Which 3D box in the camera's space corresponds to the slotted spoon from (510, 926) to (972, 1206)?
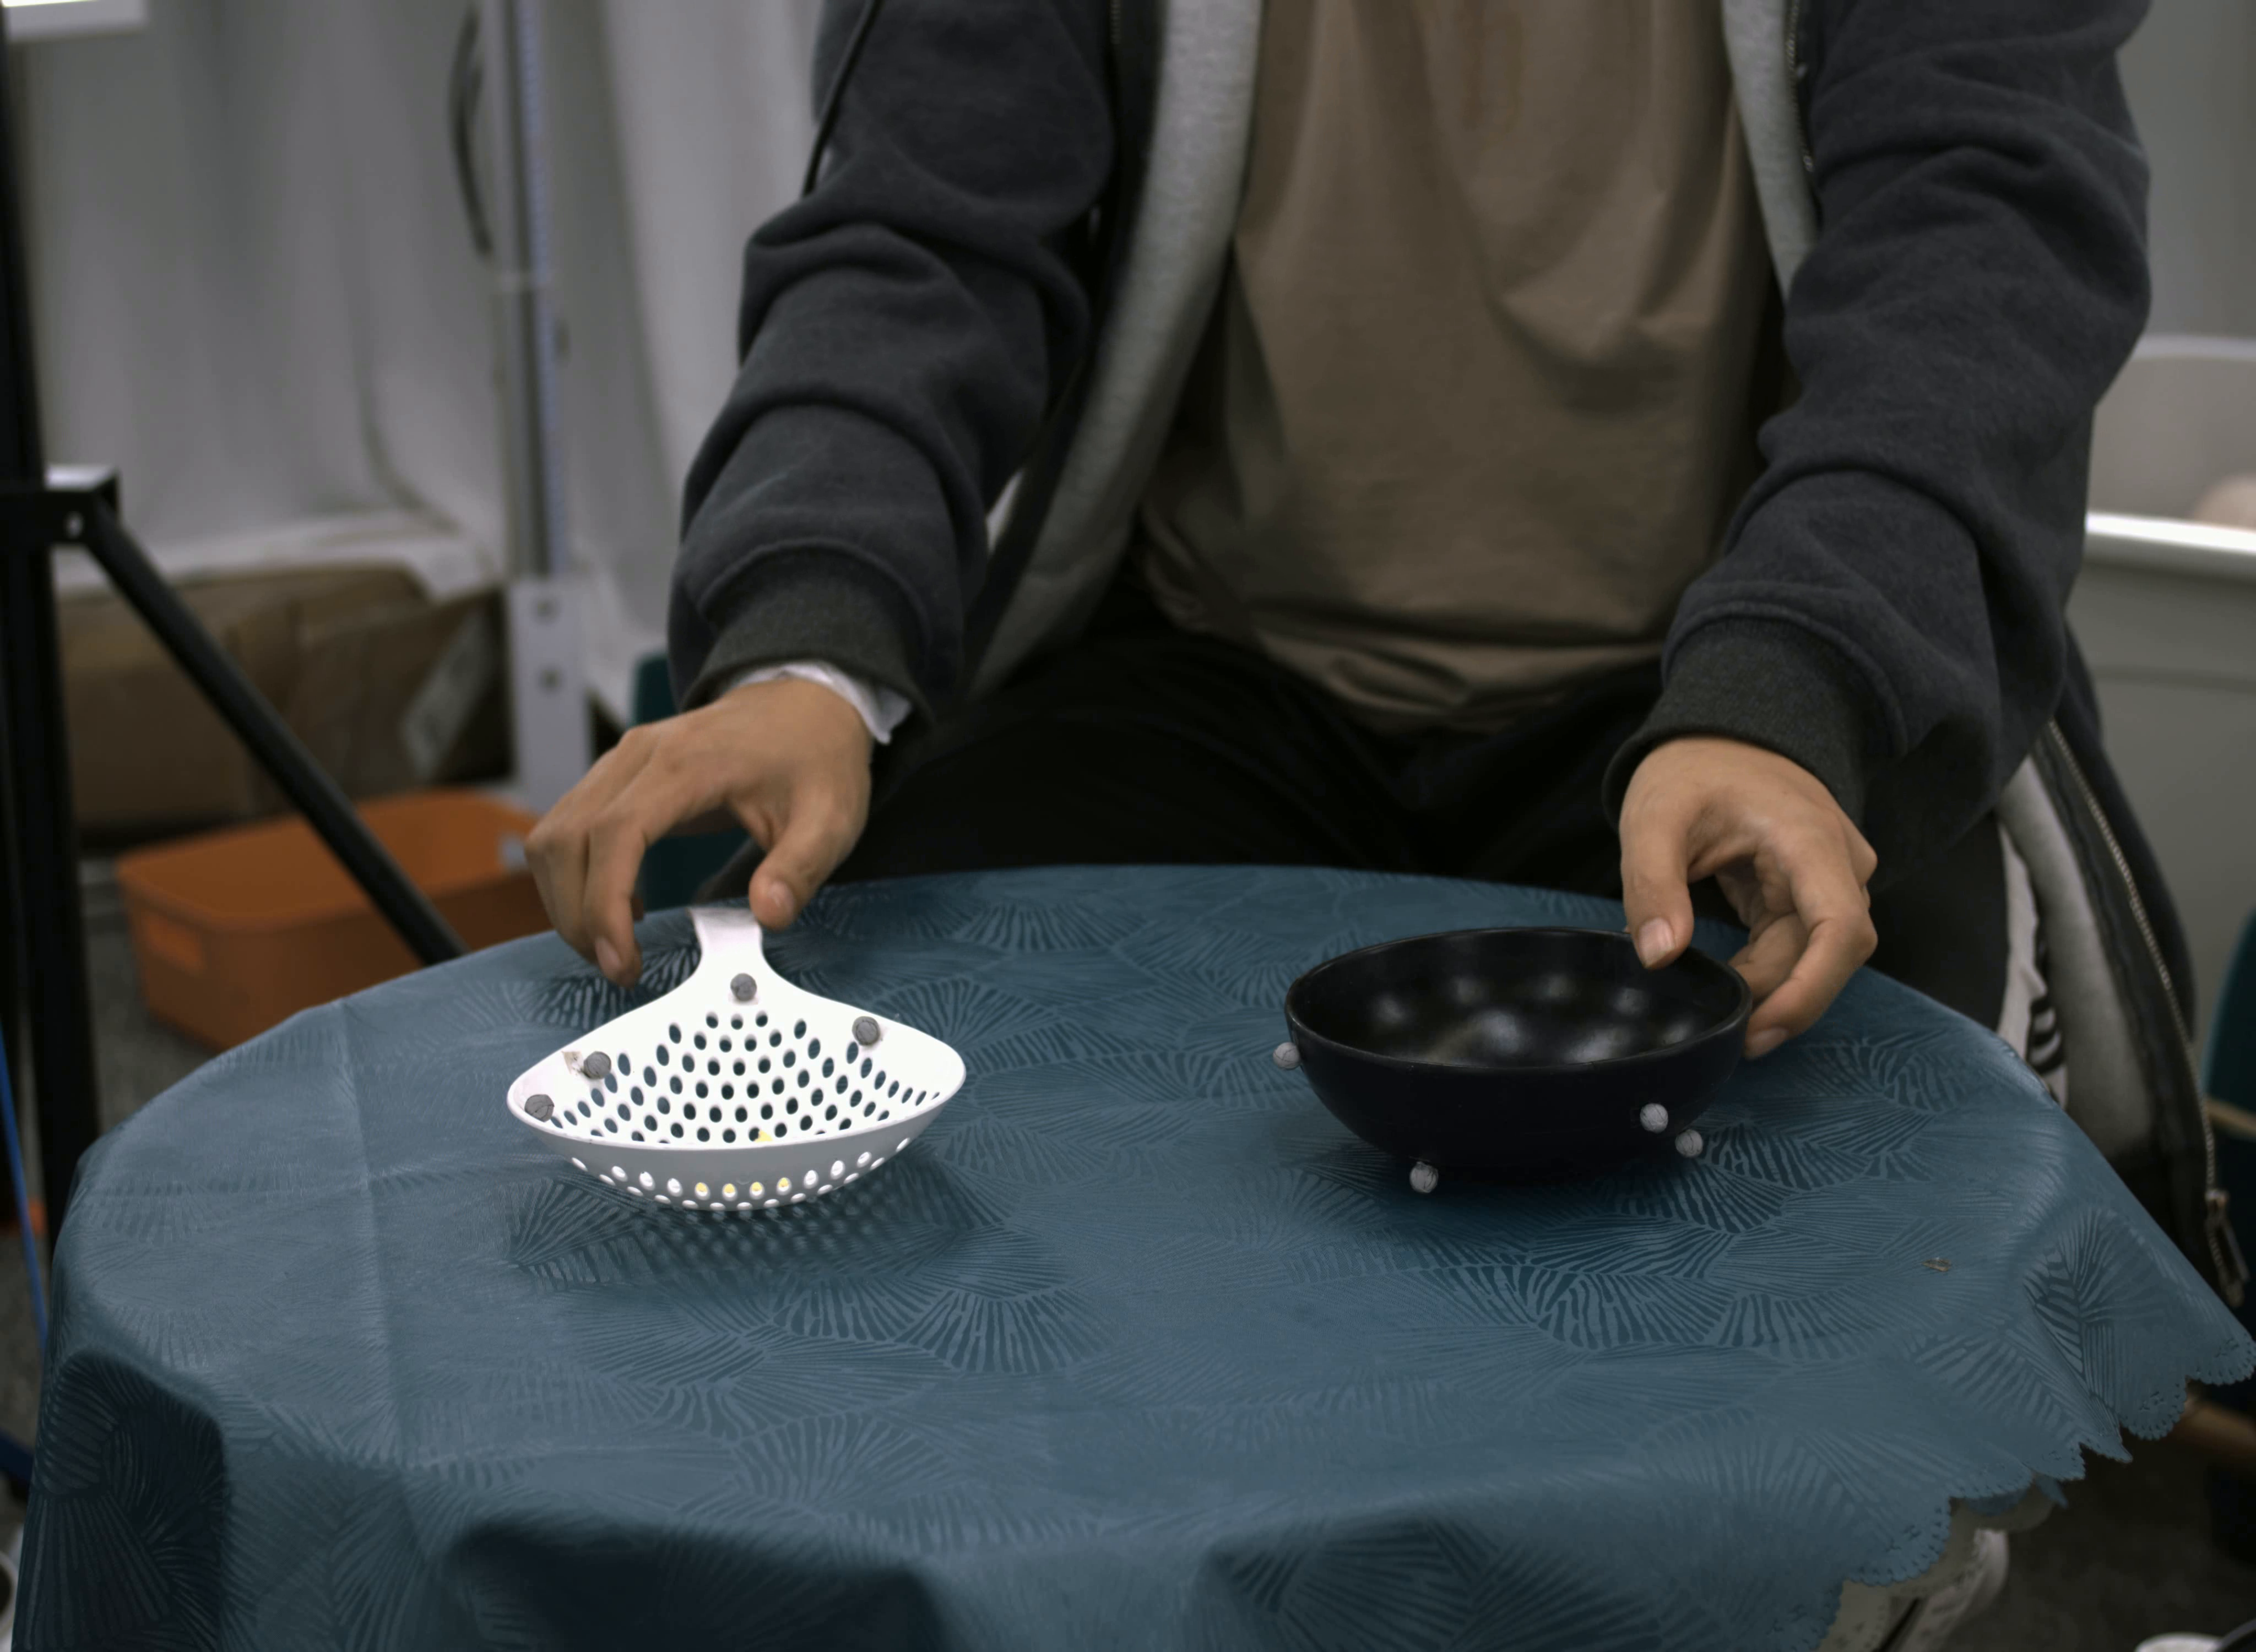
[{"bbox_3d":[-0.124,0.061,1.674,0.136,0.050,0.351,-7,16,-4],"label":"slotted spoon"}]
